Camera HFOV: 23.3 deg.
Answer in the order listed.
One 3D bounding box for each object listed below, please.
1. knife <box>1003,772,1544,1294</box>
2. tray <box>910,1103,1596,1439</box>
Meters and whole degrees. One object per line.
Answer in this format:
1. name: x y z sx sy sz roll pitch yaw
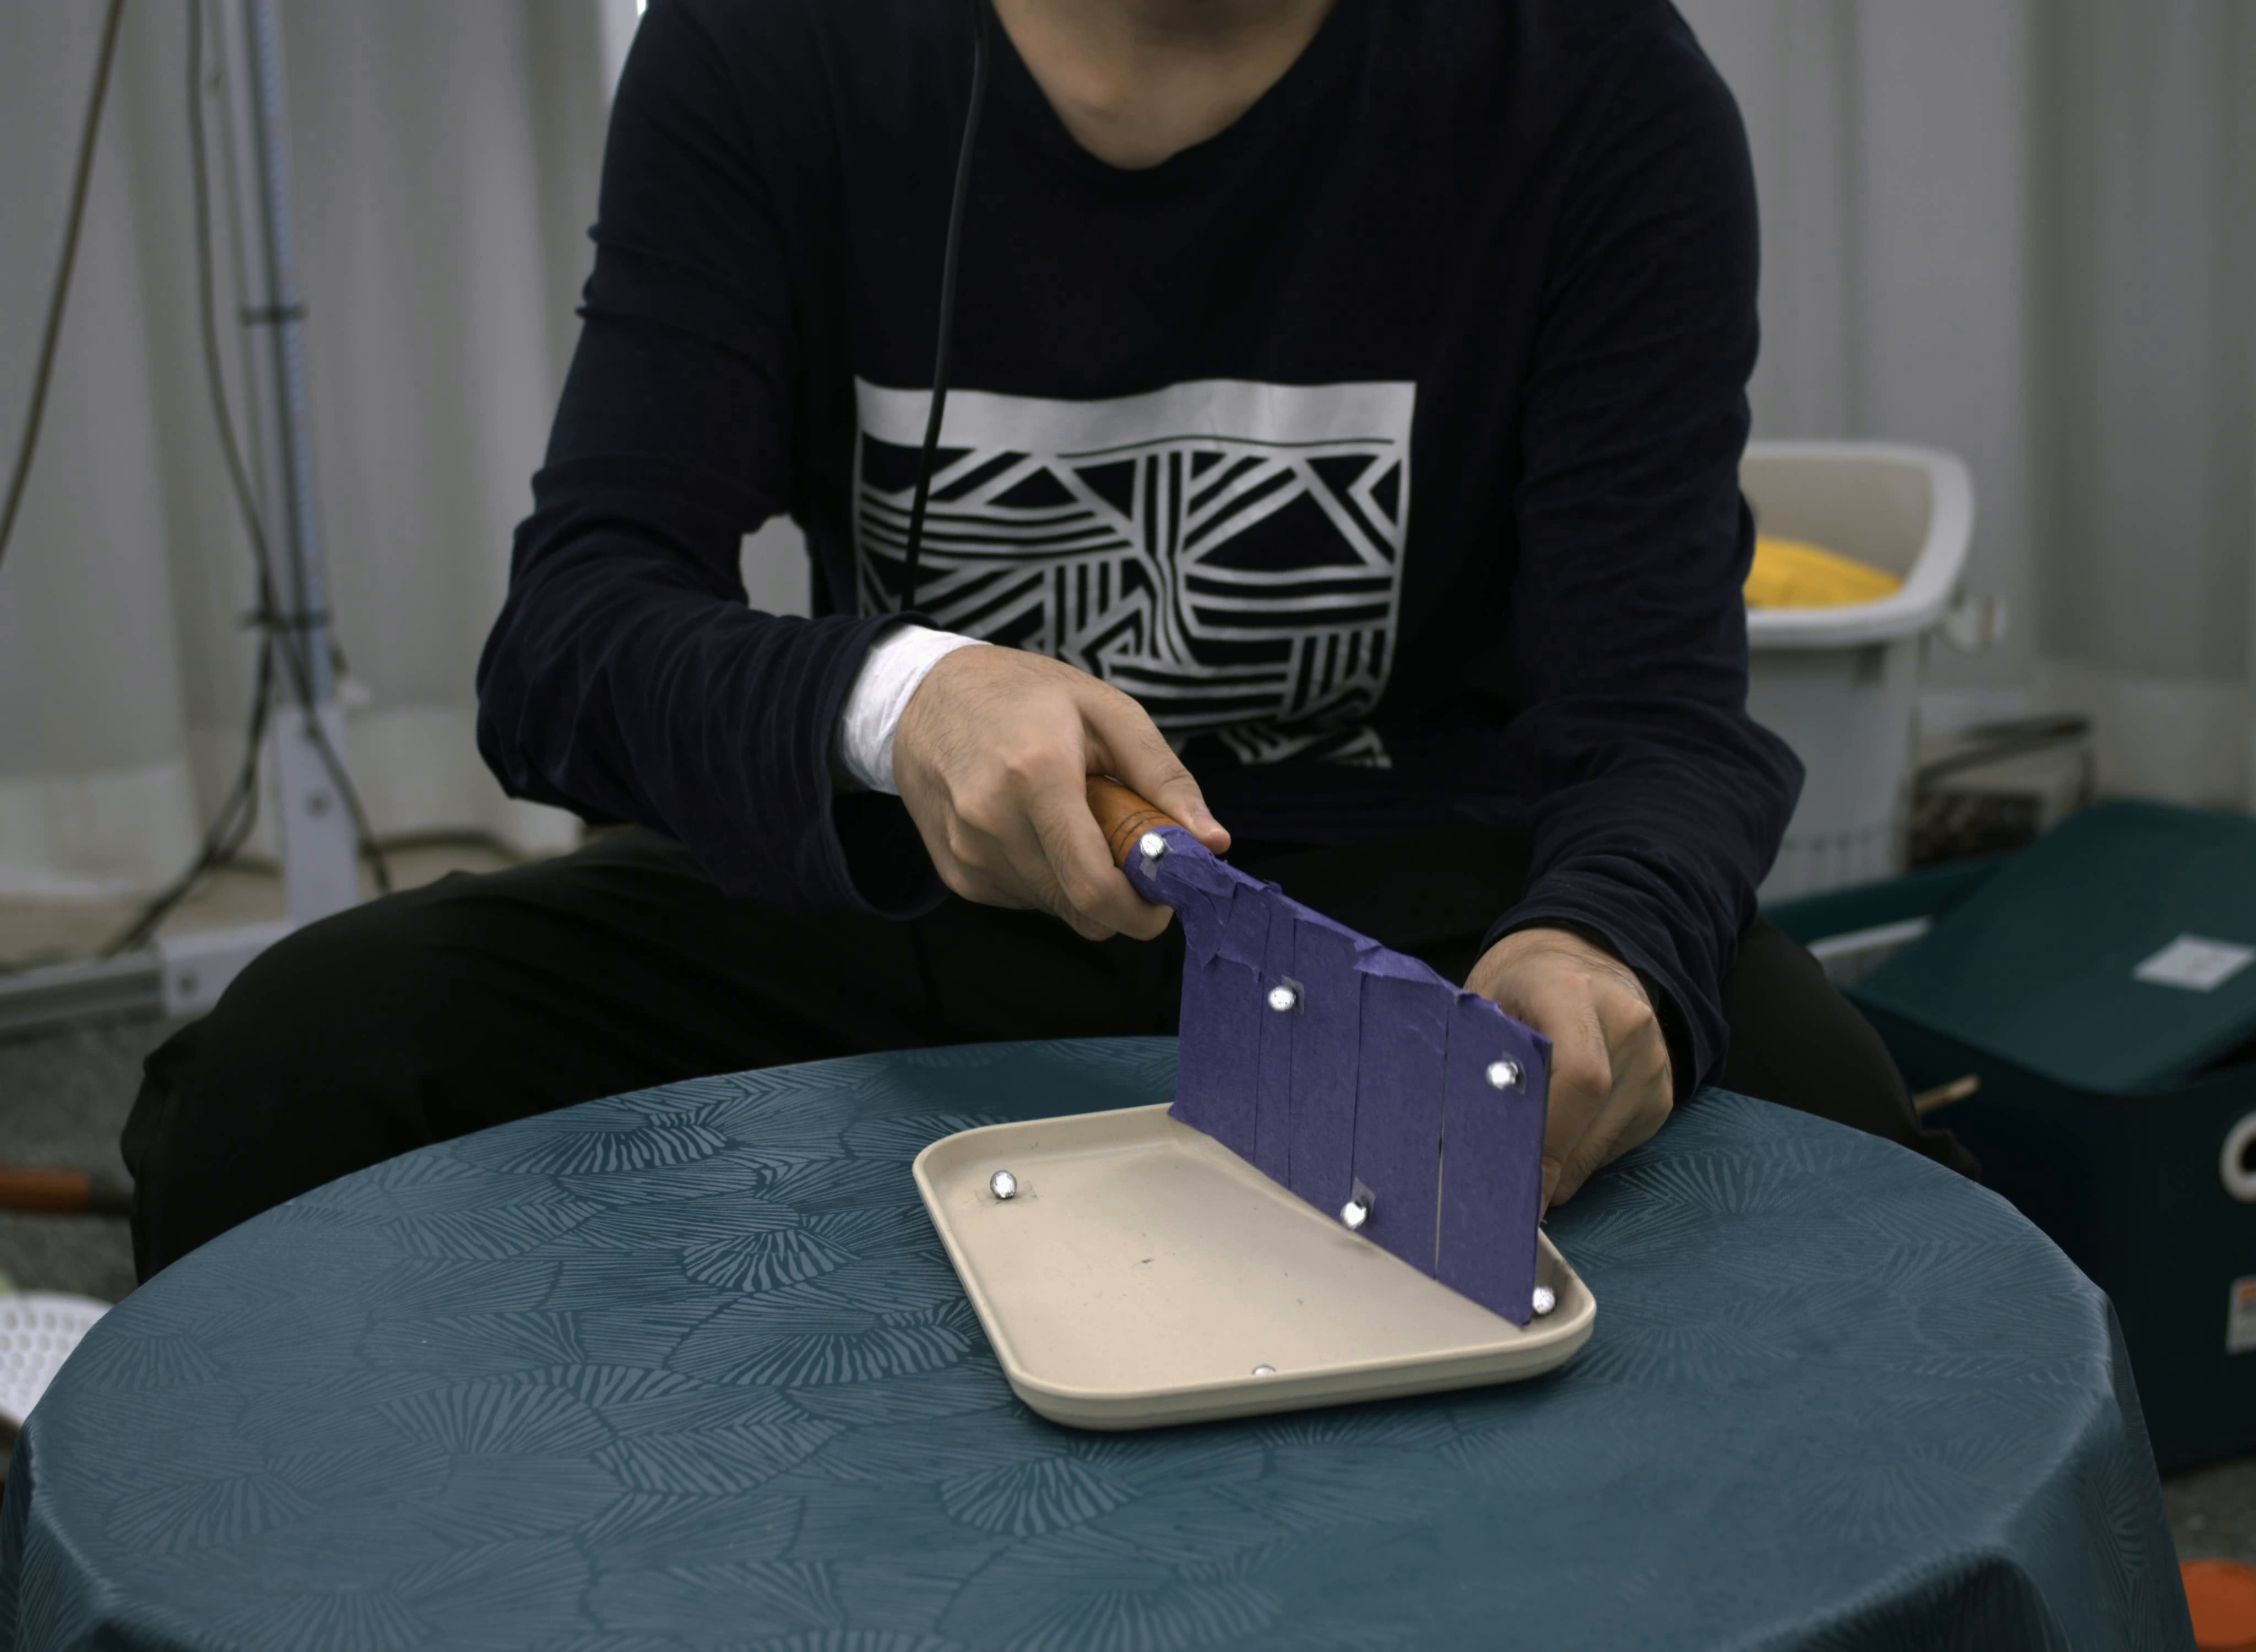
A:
1. knife: 0.039 0.062 1.679 0.032 0.103 0.318 -1 15 -27
2. tray: 0.033 0.127 1.623 0.170 0.017 0.241 -8 16 -9
